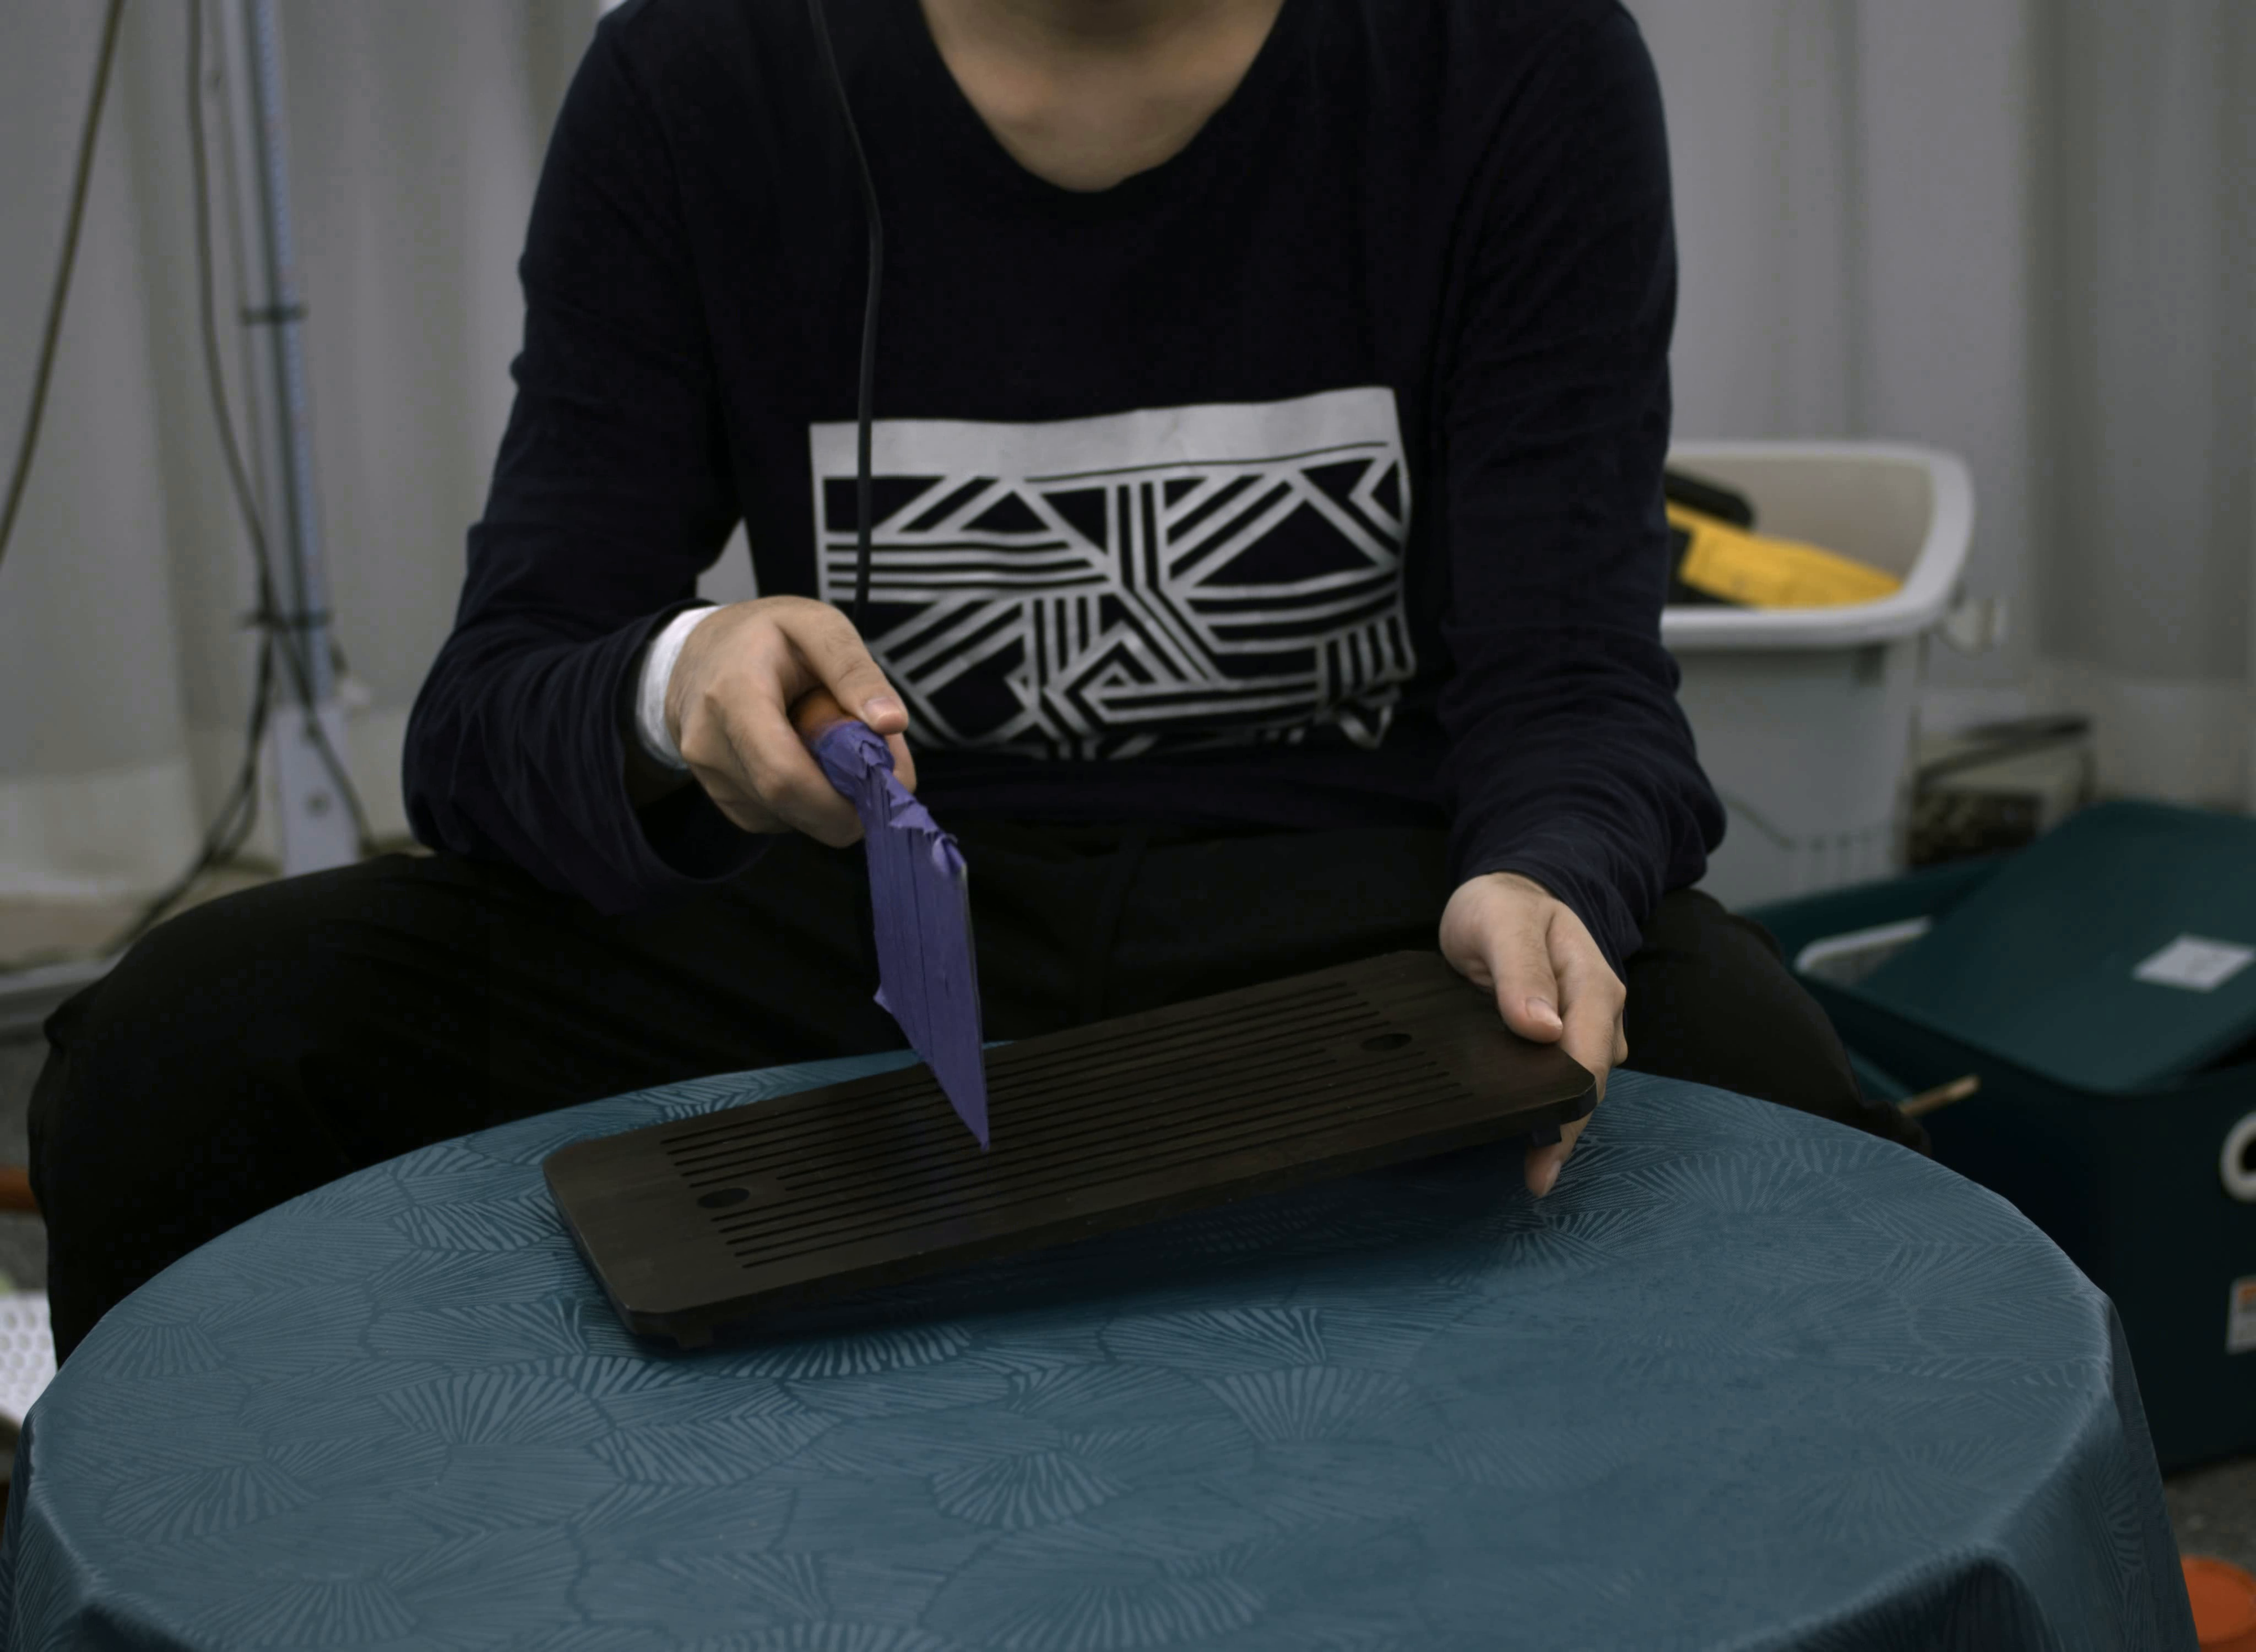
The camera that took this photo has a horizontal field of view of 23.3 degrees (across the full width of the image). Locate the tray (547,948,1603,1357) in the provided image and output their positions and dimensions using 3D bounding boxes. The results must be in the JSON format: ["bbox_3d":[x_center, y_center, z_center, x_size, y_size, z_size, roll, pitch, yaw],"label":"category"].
[{"bbox_3d":[-0.019,0.099,1.689,0.305,0.018,0.171,-13,17,-13],"label":"tray"}]

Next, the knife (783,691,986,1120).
[{"bbox_3d":[-0.078,0.024,1.739,0.032,0.103,0.317,-5,11,-8],"label":"knife"}]
